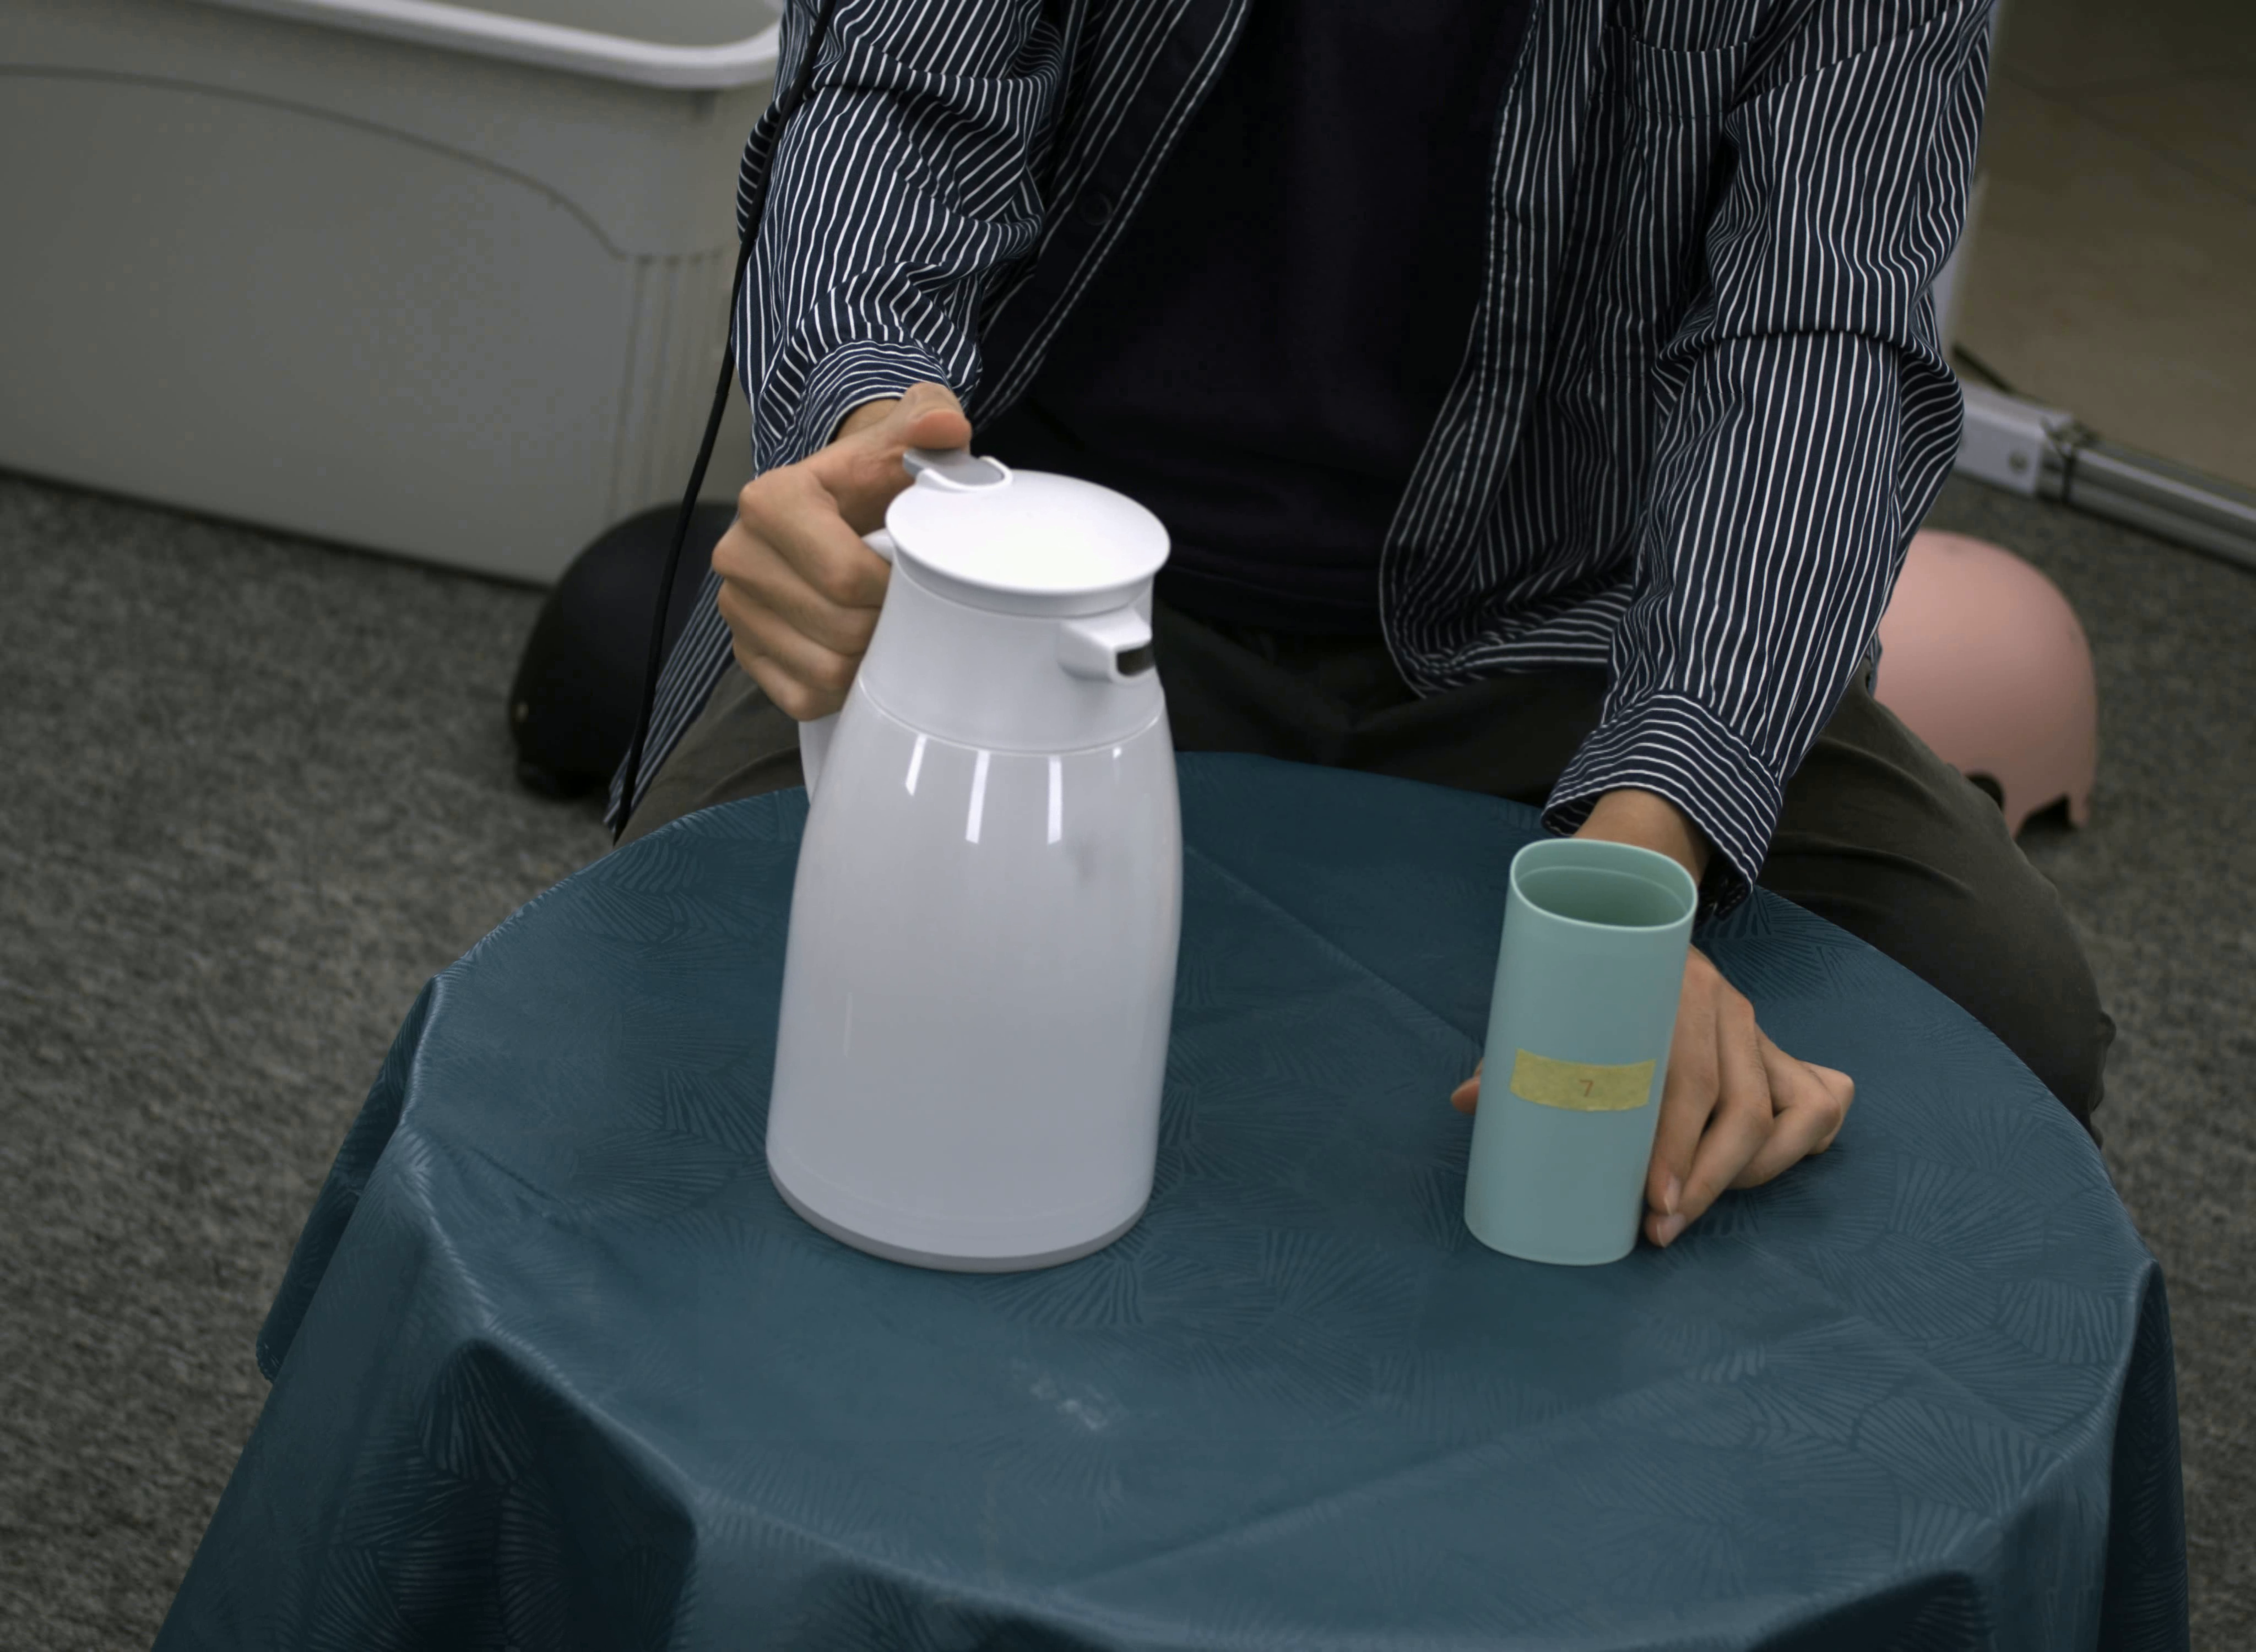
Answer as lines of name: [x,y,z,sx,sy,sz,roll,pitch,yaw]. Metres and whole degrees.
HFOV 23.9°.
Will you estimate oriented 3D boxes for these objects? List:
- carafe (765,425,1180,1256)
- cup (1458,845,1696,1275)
carafe: [-0.058,-0.005,1.757,0.132,0.248,0.169,-16,33,-37]
cup: [0.149,0.078,1.781,0.066,0.132,0.067,5,29,-3]
